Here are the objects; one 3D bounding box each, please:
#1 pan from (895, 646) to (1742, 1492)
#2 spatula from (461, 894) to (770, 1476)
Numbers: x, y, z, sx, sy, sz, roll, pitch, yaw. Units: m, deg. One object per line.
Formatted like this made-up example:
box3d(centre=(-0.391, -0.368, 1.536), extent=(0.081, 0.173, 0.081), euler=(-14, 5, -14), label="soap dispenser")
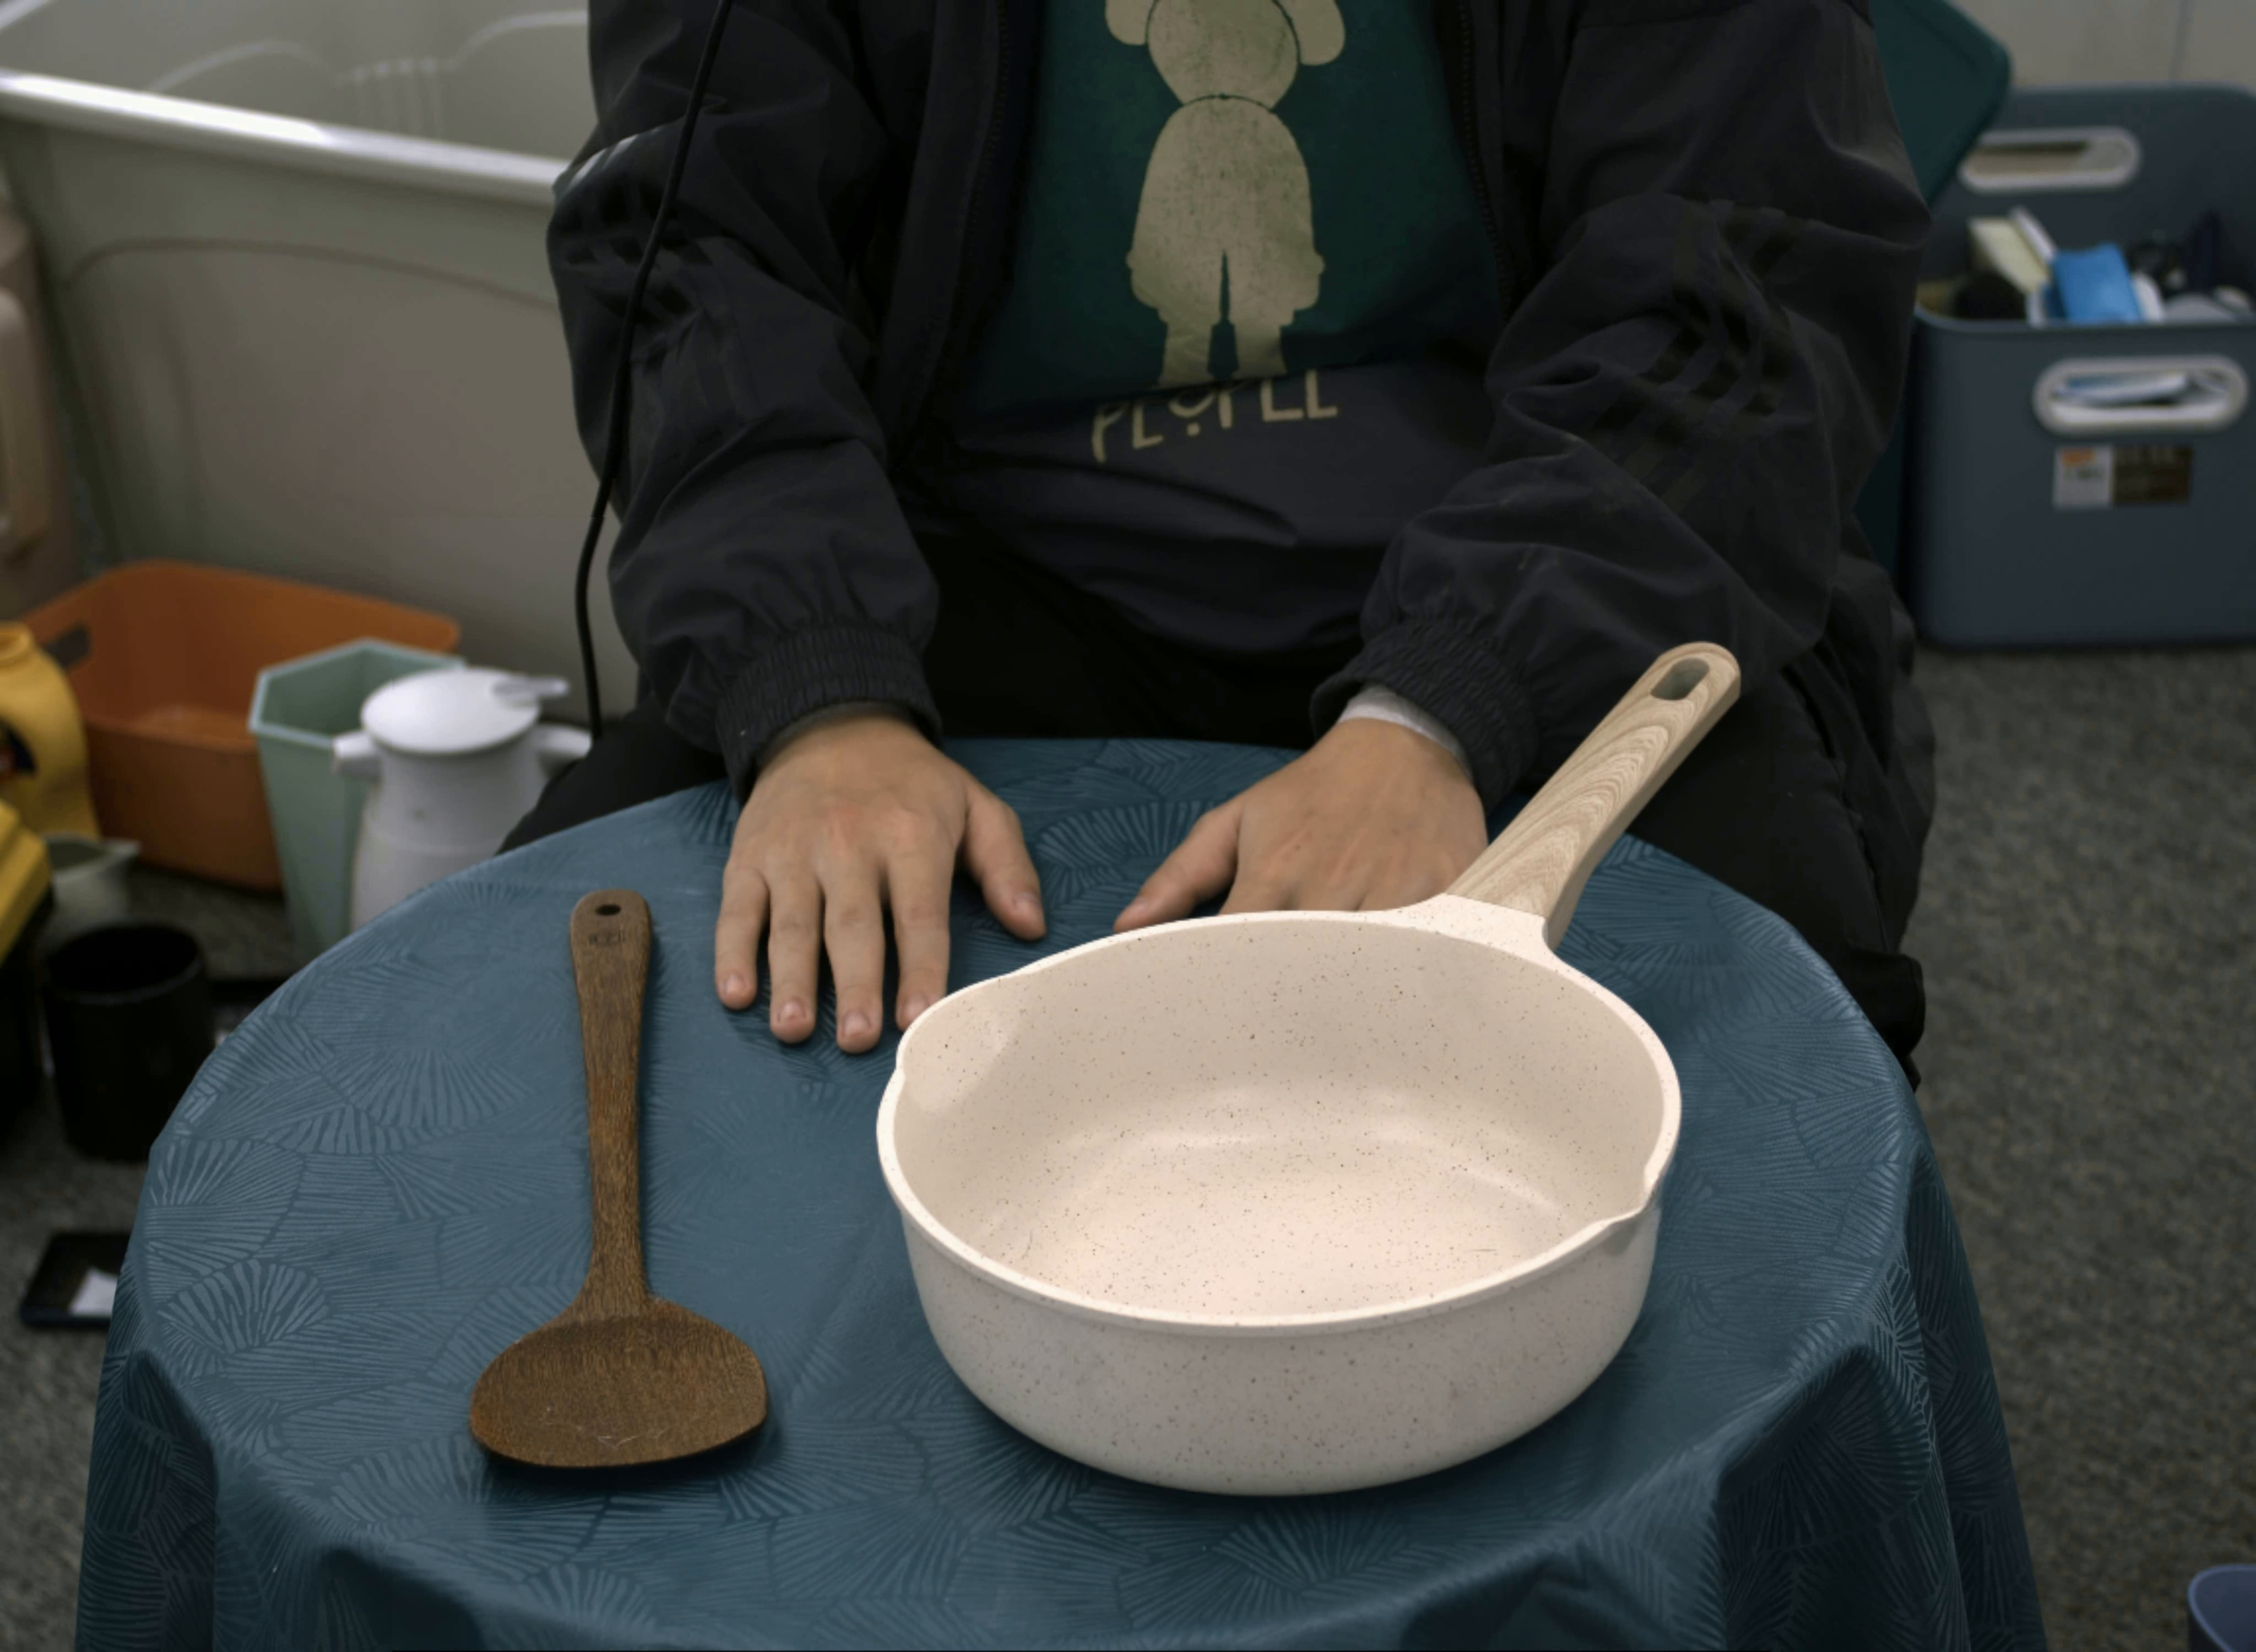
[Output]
box3d(centre=(0.101, 0.075, 1.829), extent=(0.262, 0.101, 0.442), euler=(11, 31, 29), label="pan")
box3d(centre=(-0.173, 0.111, 1.880), extent=(0.096, 0.015, 0.391), euler=(-4, 27, -4), label="spatula")
